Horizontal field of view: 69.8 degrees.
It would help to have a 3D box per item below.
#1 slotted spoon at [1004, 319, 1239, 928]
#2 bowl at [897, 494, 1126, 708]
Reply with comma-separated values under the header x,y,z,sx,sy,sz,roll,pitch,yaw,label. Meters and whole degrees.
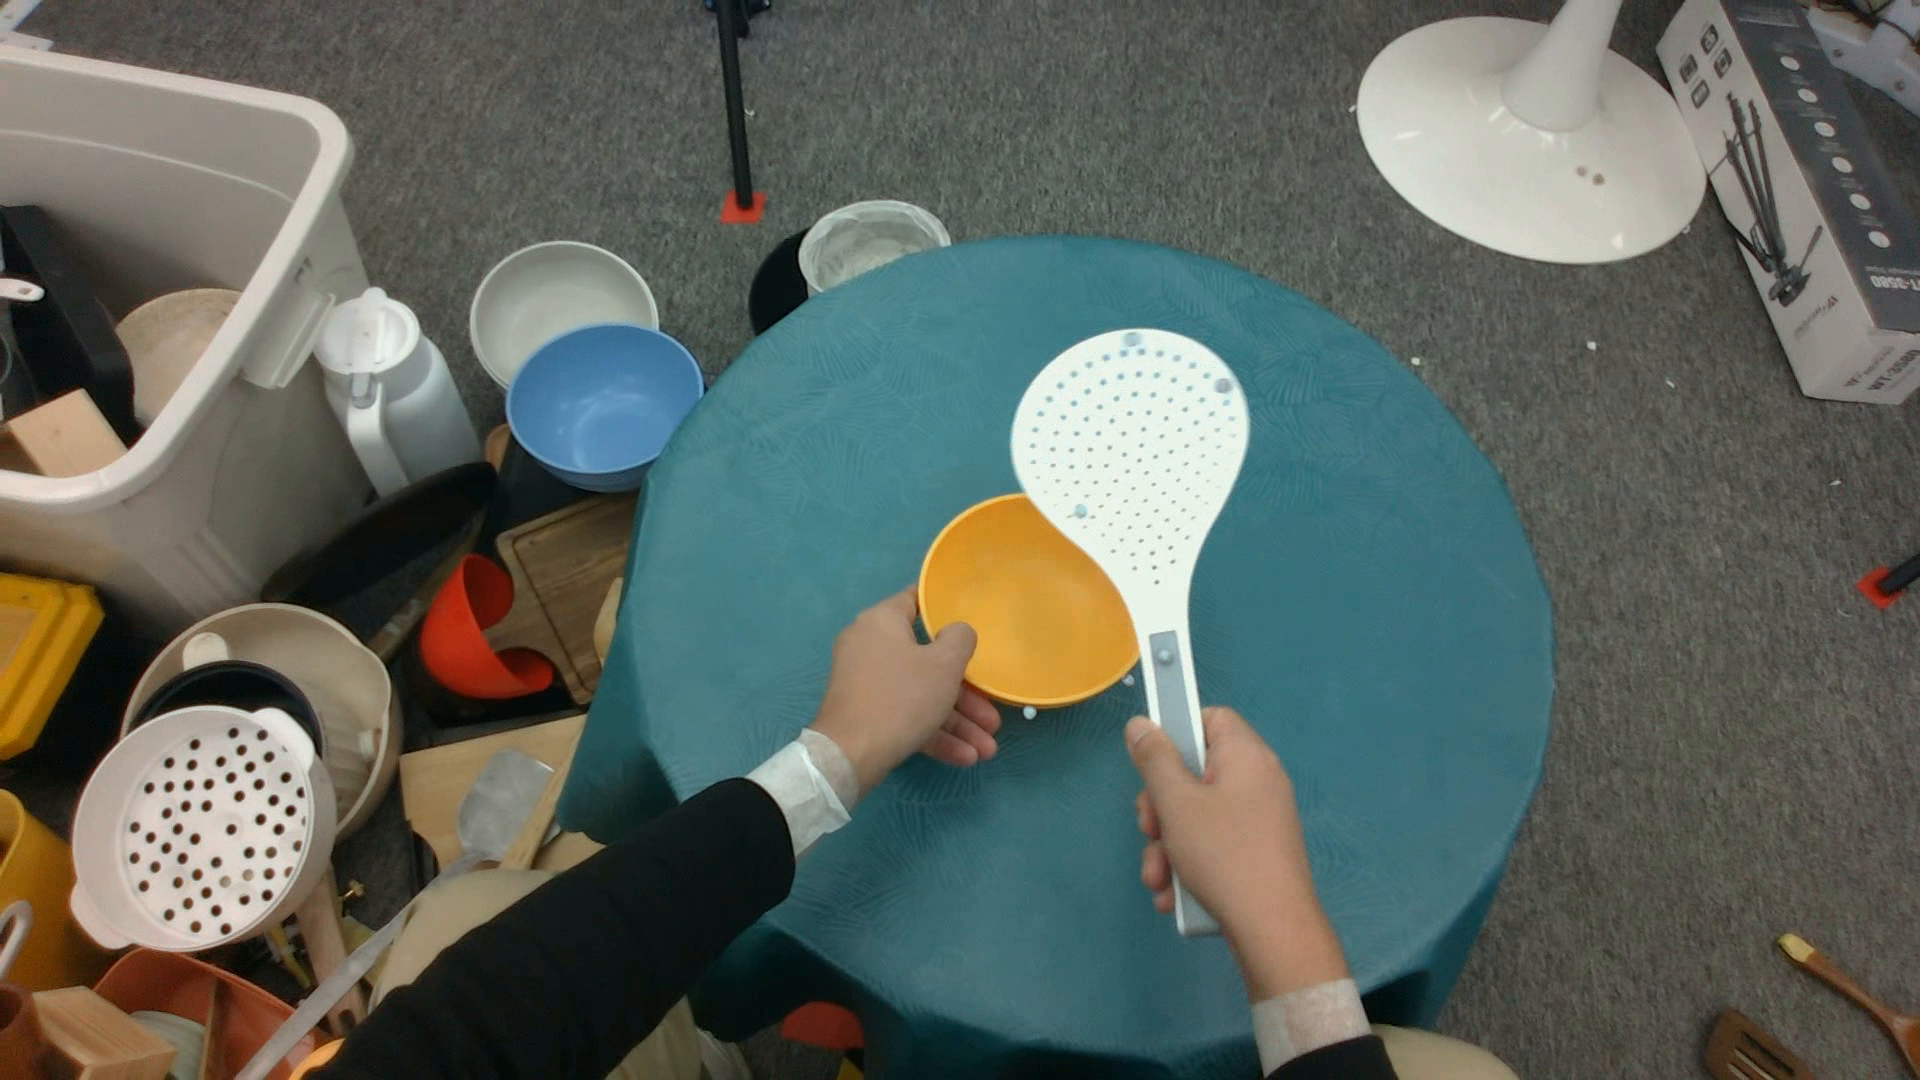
x,y,z,sx,sy,sz,roll,pitch,yaw,label
0.101,0.032,0.750,0.136,0.045,0.351,-10,59,11,slotted spoon
0.033,0.047,0.852,0.145,0.060,0.146,1,58,-1,bowl
